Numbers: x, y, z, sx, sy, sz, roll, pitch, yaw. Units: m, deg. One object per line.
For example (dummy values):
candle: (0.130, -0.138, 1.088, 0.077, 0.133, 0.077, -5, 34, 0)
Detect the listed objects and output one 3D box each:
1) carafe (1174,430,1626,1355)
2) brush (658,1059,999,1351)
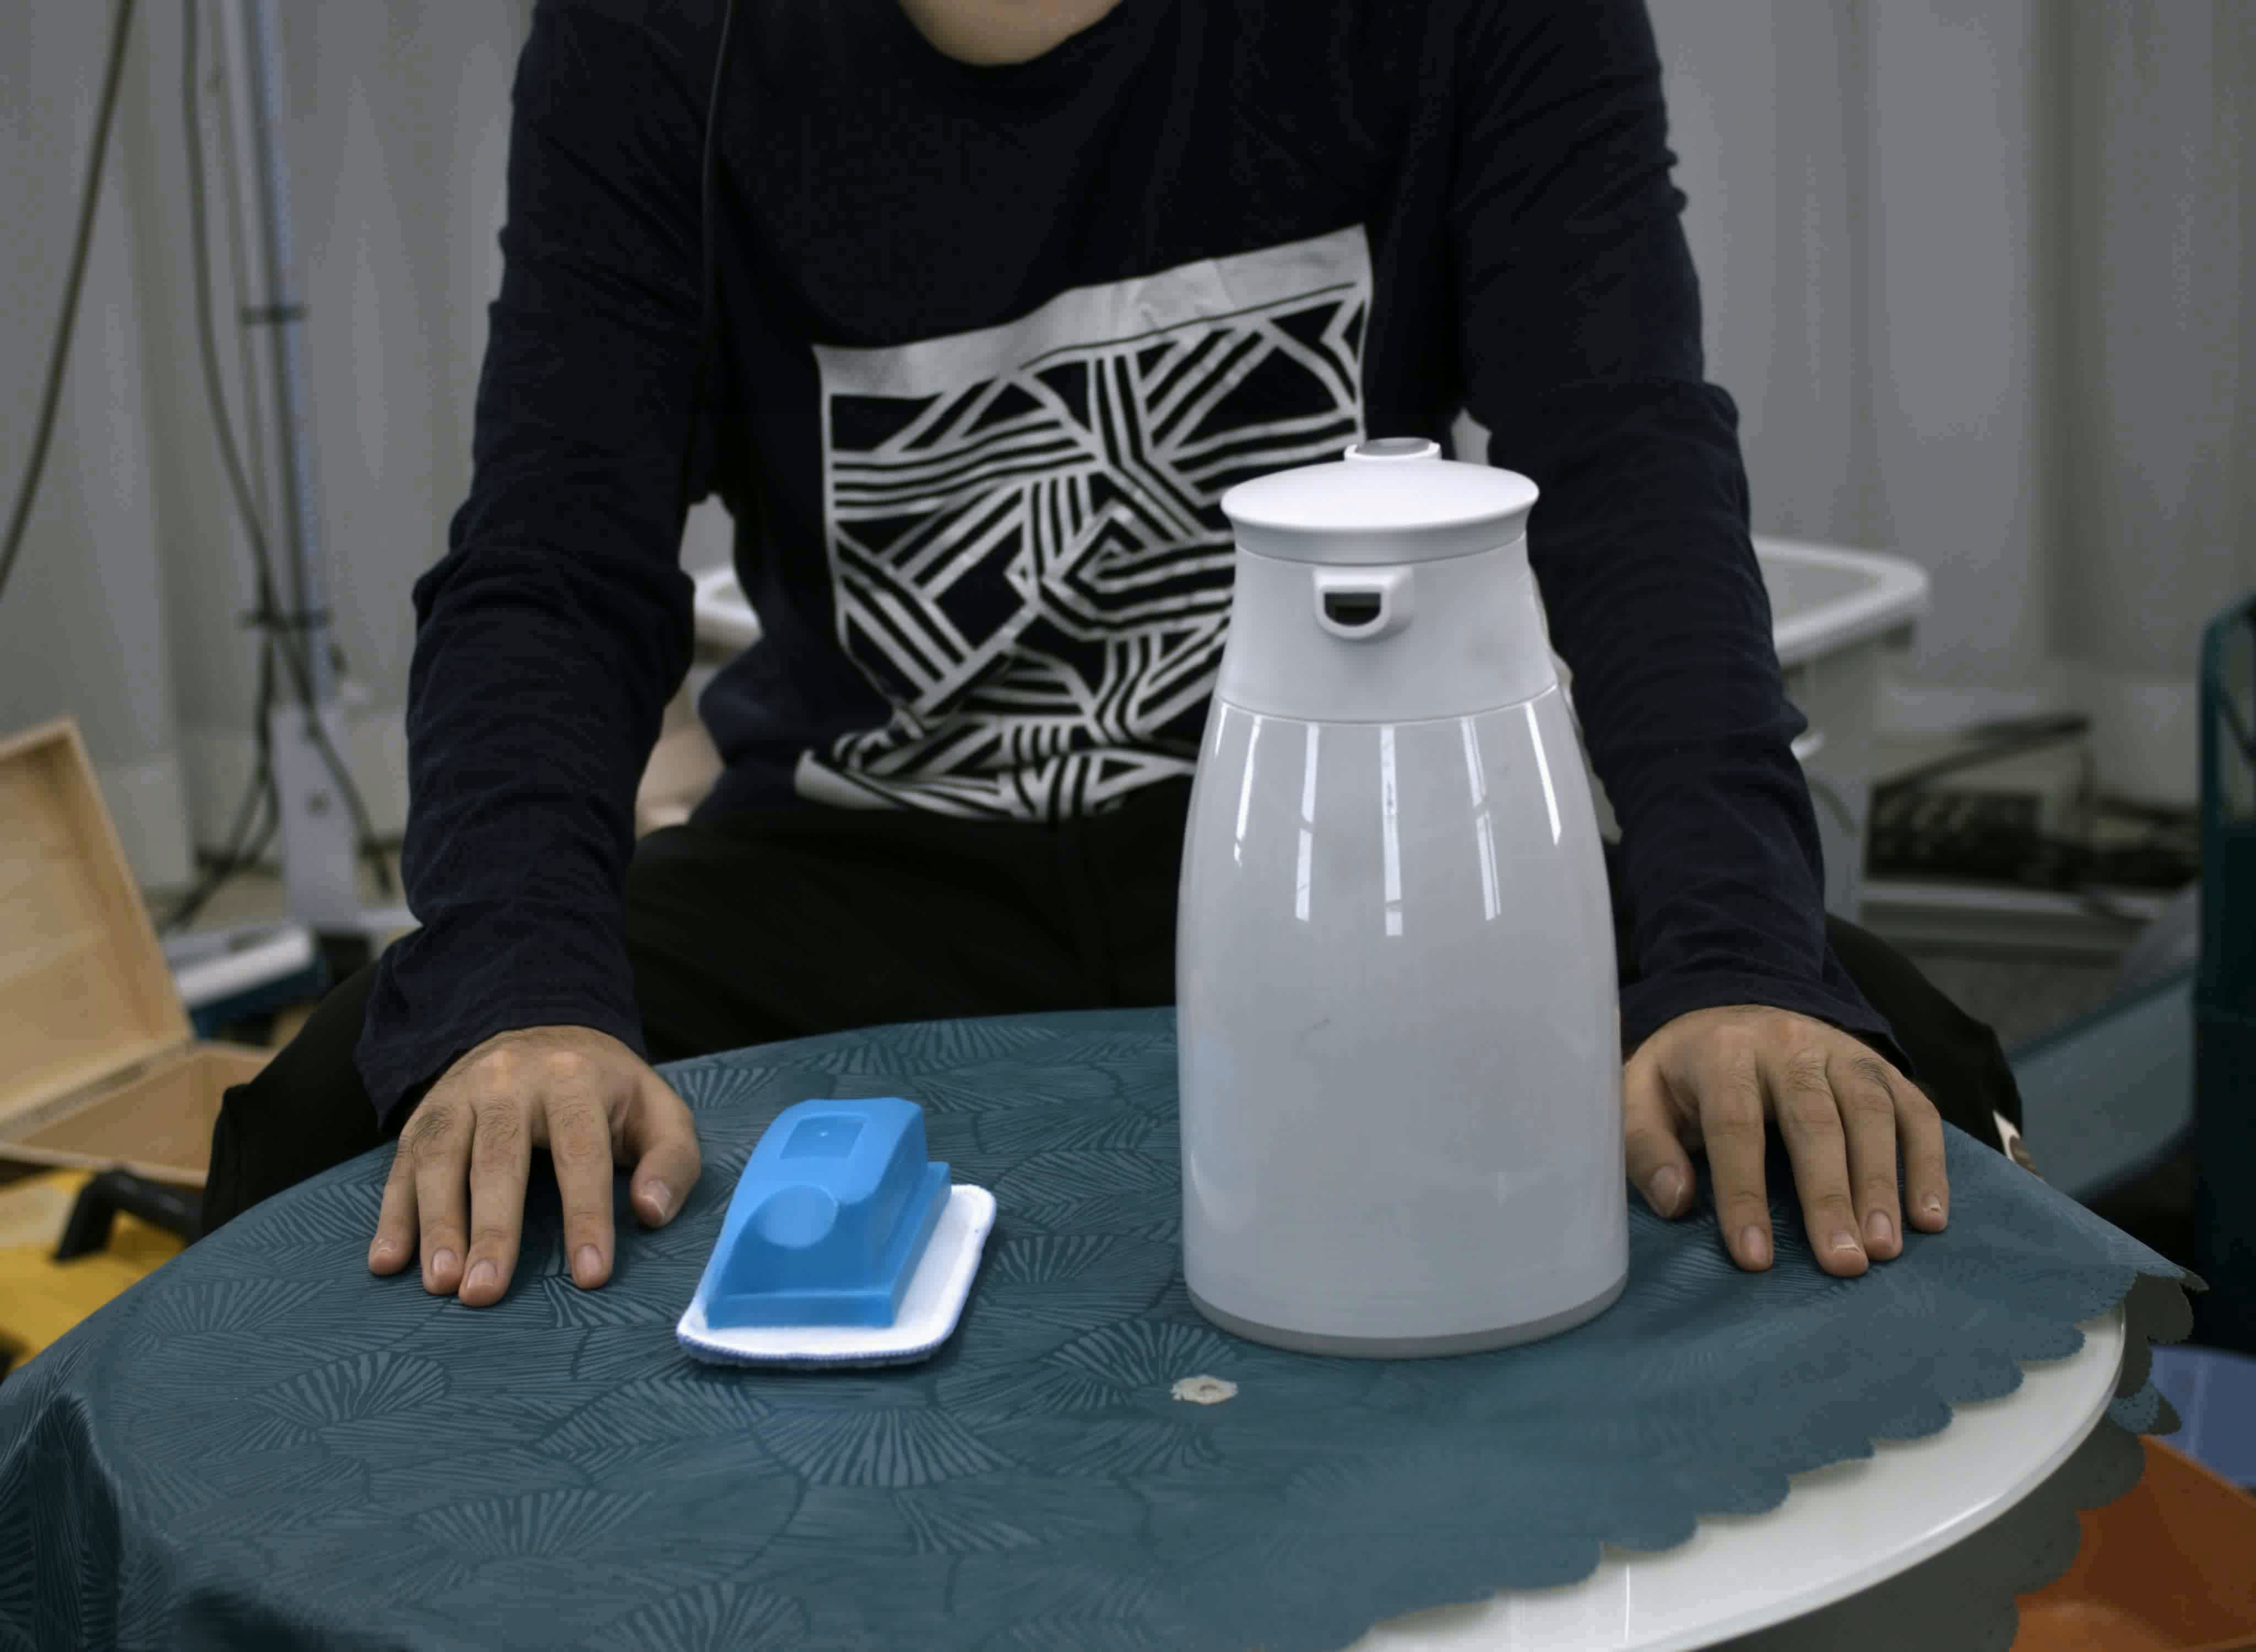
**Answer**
carafe: (0.078, 0.011, 1.611, 0.132, 0.248, 0.168, -1, 13, 8)
brush: (-0.088, 0.110, 1.634, 0.084, 0.055, 0.145, 3, 18, 8)
